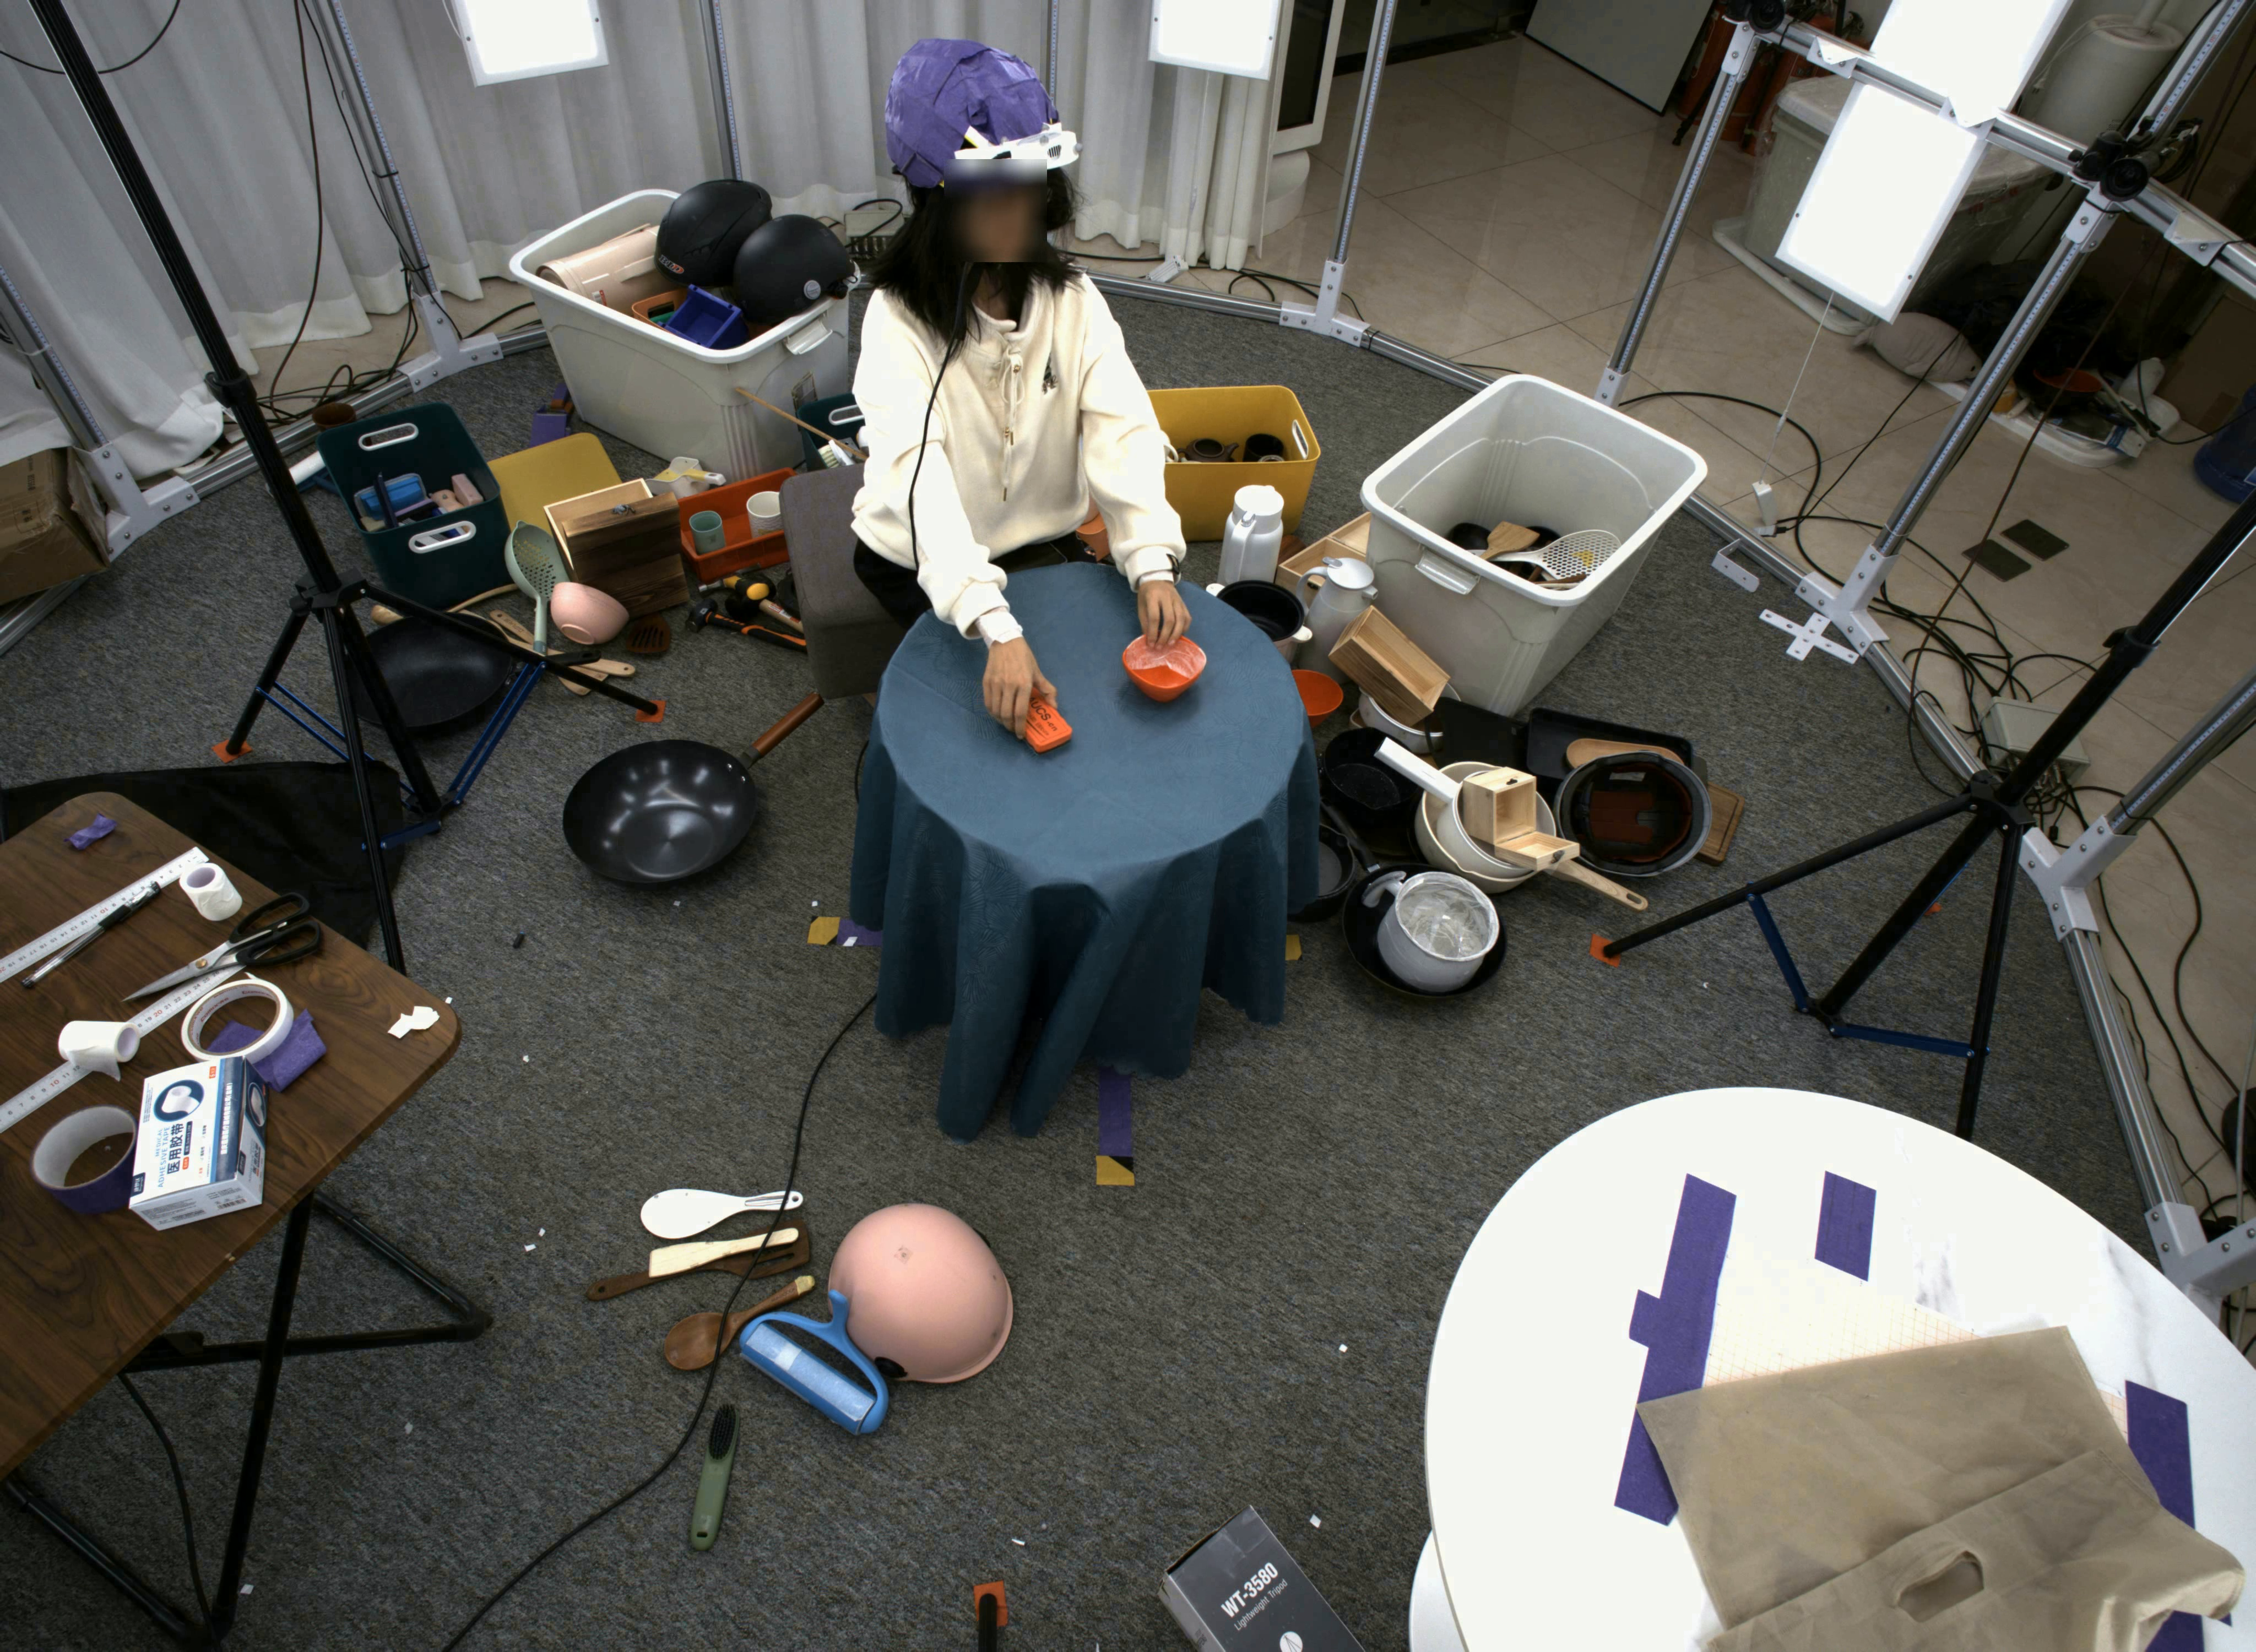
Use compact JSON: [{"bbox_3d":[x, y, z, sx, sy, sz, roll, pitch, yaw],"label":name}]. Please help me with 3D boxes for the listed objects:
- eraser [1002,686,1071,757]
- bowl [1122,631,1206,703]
[{"bbox_3d":[-0.127,-0.145,1.773,0.059,0.022,0.110,-25,55,-21],"label":"eraser"},{"bbox_3d":[0.050,-0.221,1.833,0.119,0.050,0.122,1,49,-1],"label":"bowl"}]
